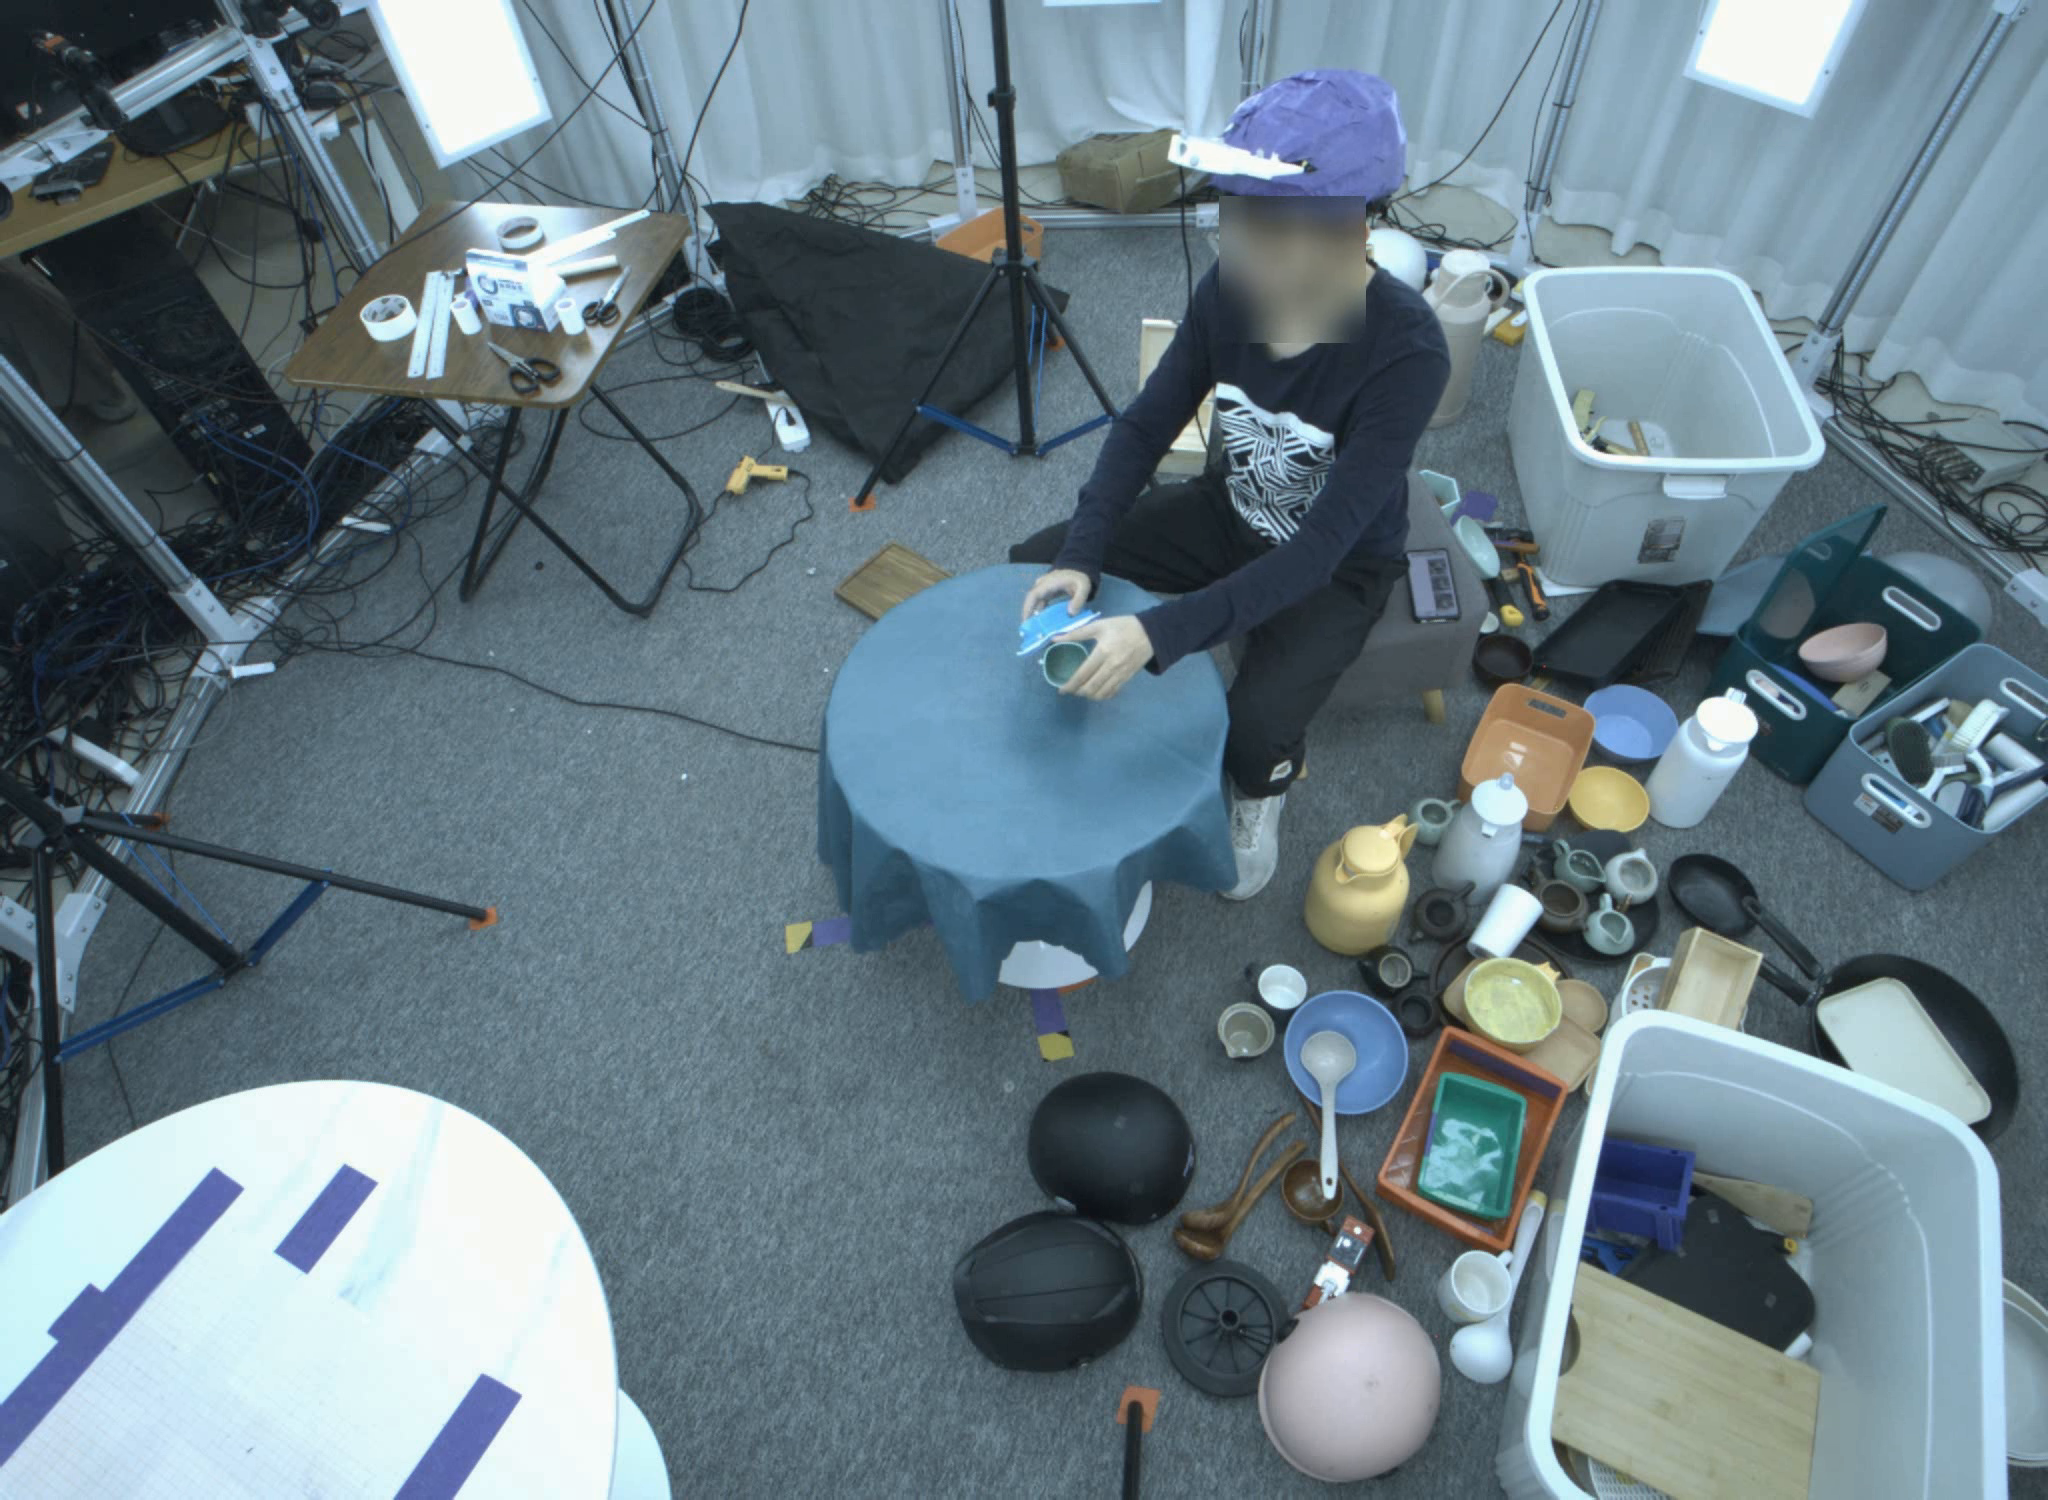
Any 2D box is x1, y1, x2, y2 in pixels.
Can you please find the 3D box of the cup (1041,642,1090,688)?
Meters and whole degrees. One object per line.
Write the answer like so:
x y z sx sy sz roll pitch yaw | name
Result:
0.060 -0.123 1.736 0.066 0.132 0.067 0 96 5 | cup

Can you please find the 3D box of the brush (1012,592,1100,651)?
0.042 -0.187 1.760 0.145 0.082 0.056 -34 100 -48 | brush
